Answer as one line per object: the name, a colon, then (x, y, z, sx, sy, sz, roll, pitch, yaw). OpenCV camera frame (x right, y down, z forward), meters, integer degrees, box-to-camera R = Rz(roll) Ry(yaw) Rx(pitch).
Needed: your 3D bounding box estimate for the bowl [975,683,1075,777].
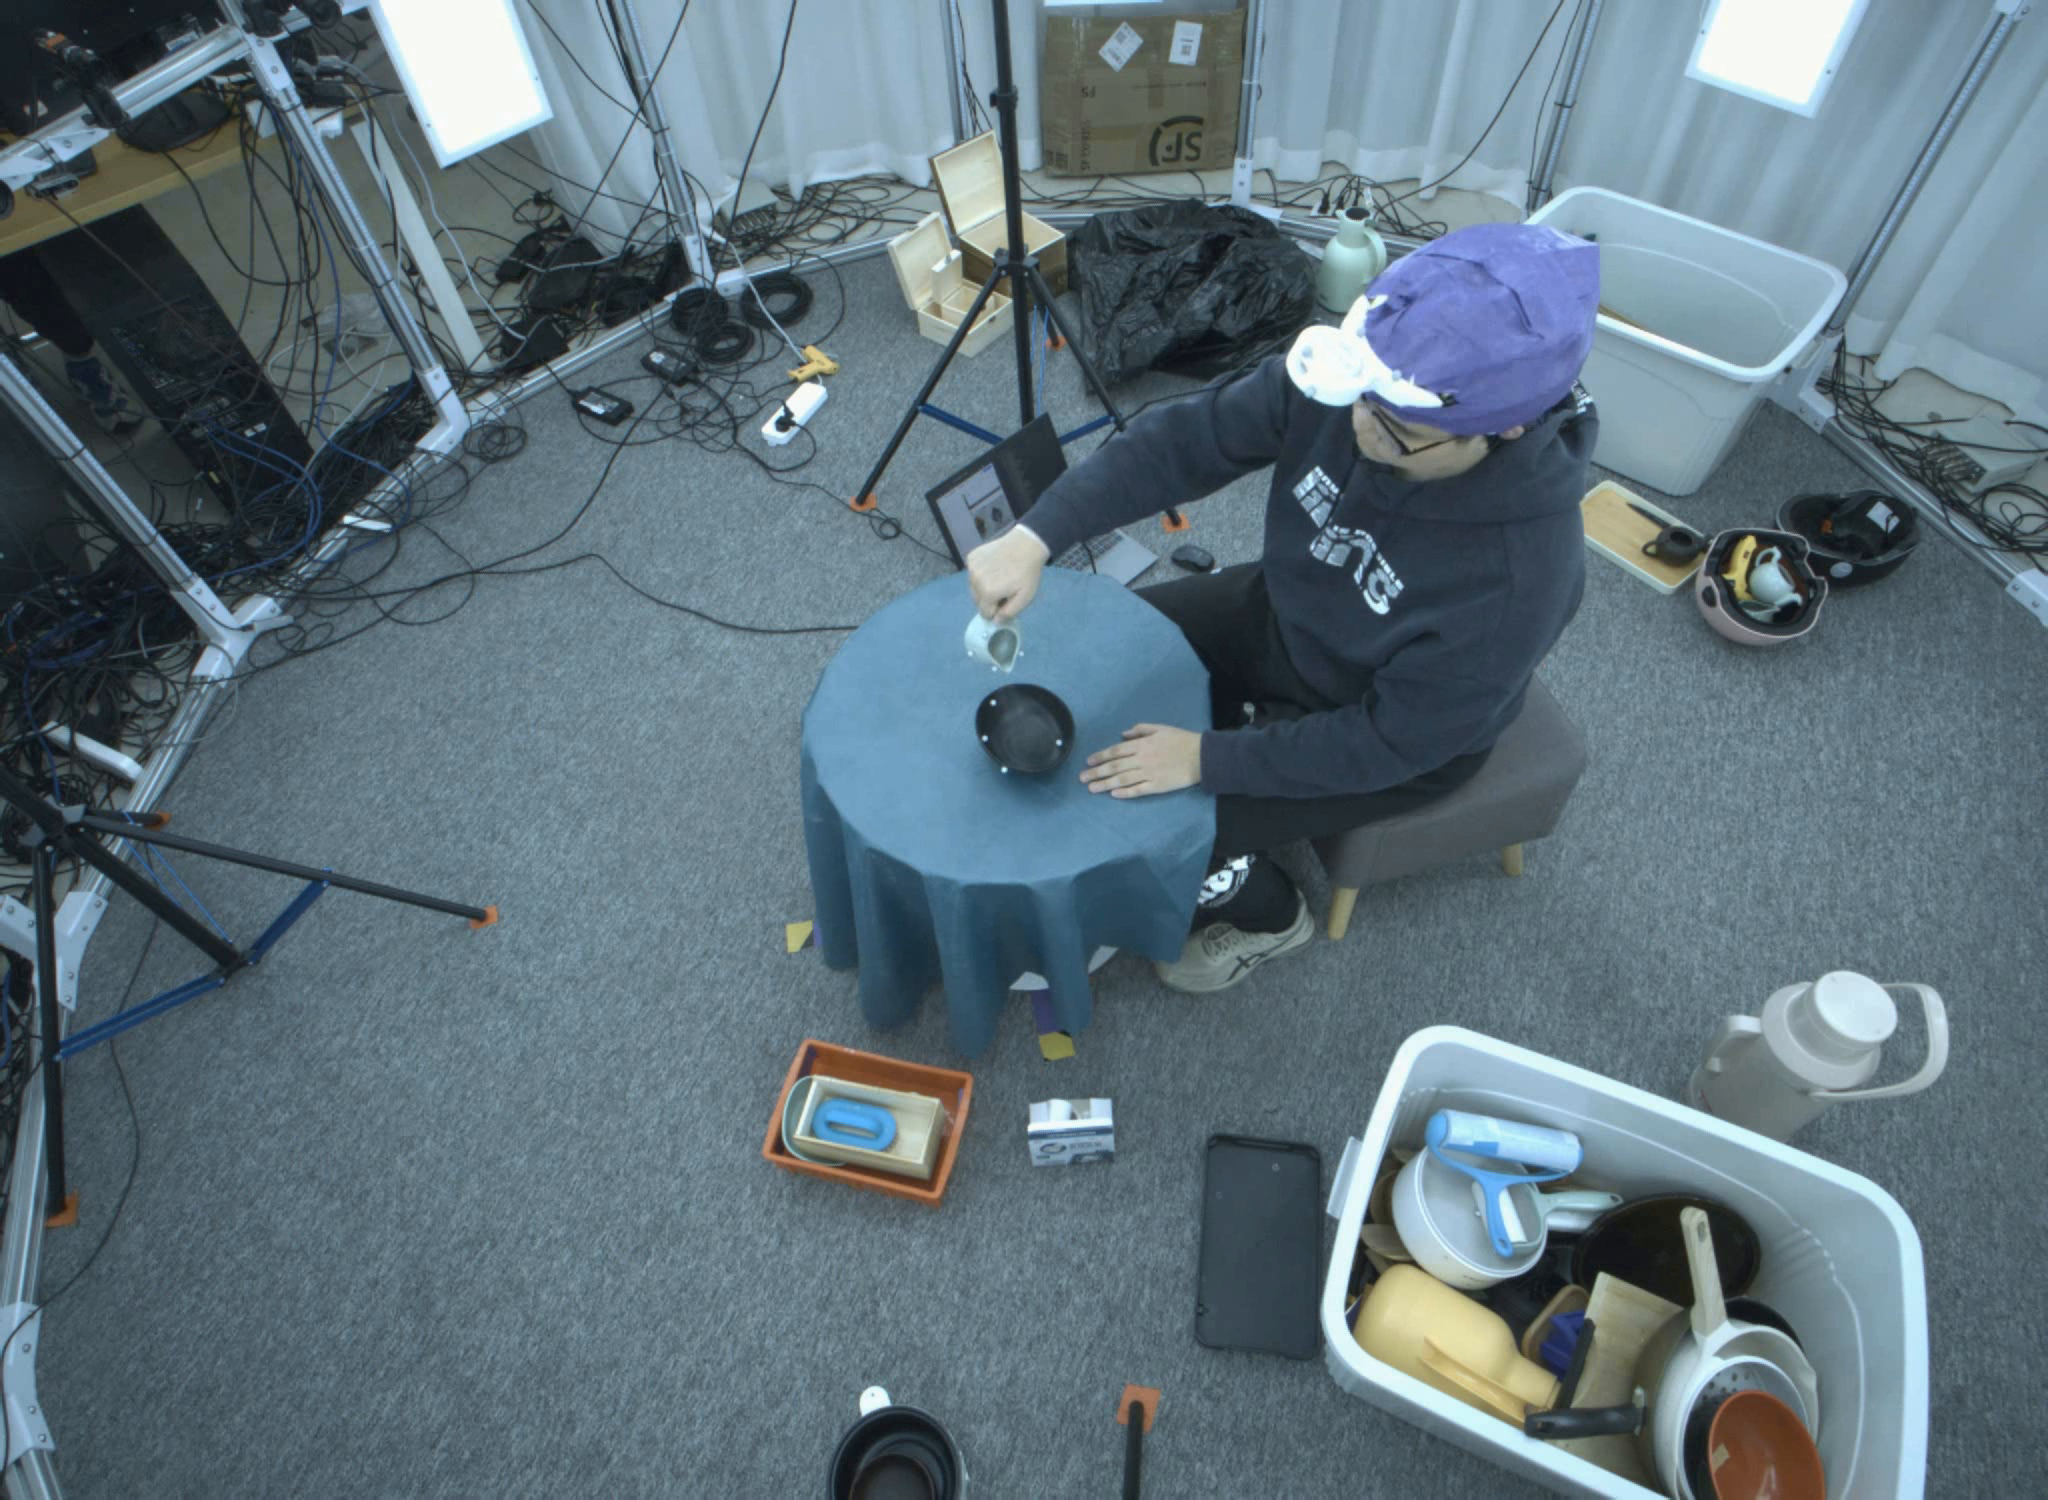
bowl: (0.000, -0.020, 1.764, 0.138, 0.067, 0.167, -21, 56, -13)

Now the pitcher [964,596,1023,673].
pitcher: (-0.041, -0.161, 1.666, 0.087, 0.109, 0.059, -24, 35, -16)
